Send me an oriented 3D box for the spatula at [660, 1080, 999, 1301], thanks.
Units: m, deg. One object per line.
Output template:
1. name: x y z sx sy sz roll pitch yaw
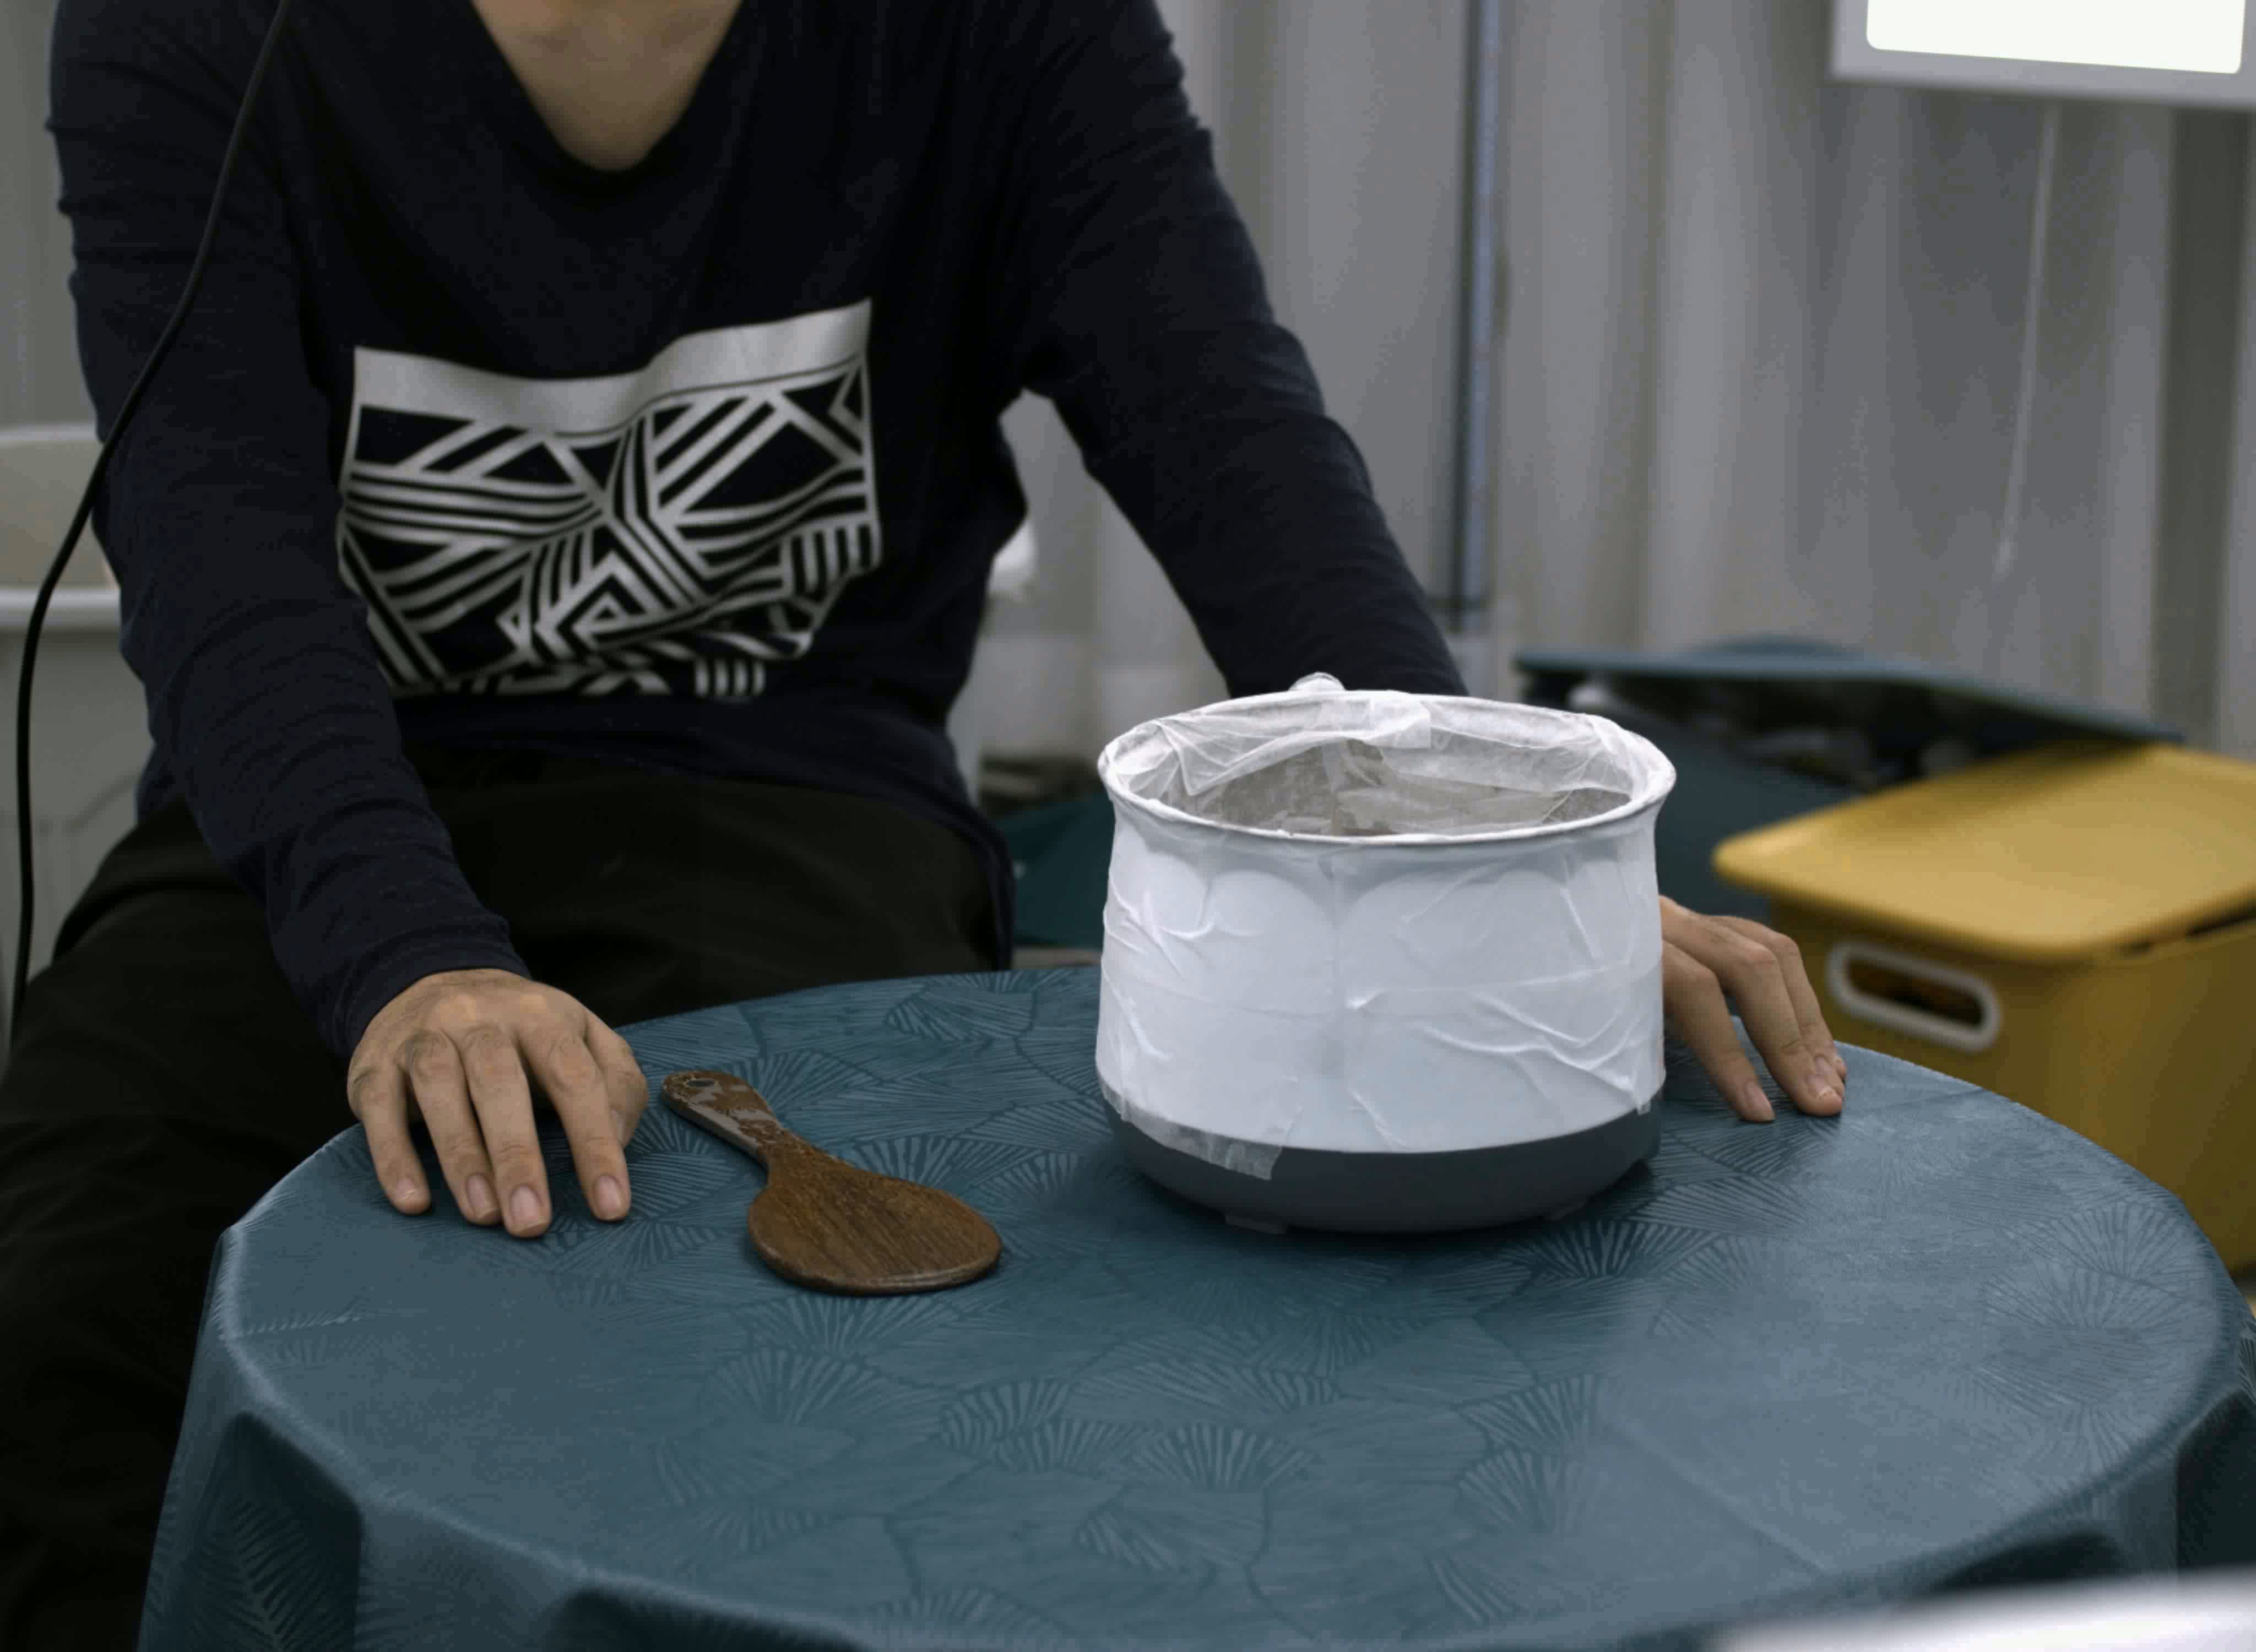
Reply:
1. spatula: -0.101 0.109 1.627 0.072 0.009 0.213 -4 15 -23

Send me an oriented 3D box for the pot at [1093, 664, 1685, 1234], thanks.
1. pot: 0.073 0.033 1.652 0.179 0.138 0.231 0 17 -12
